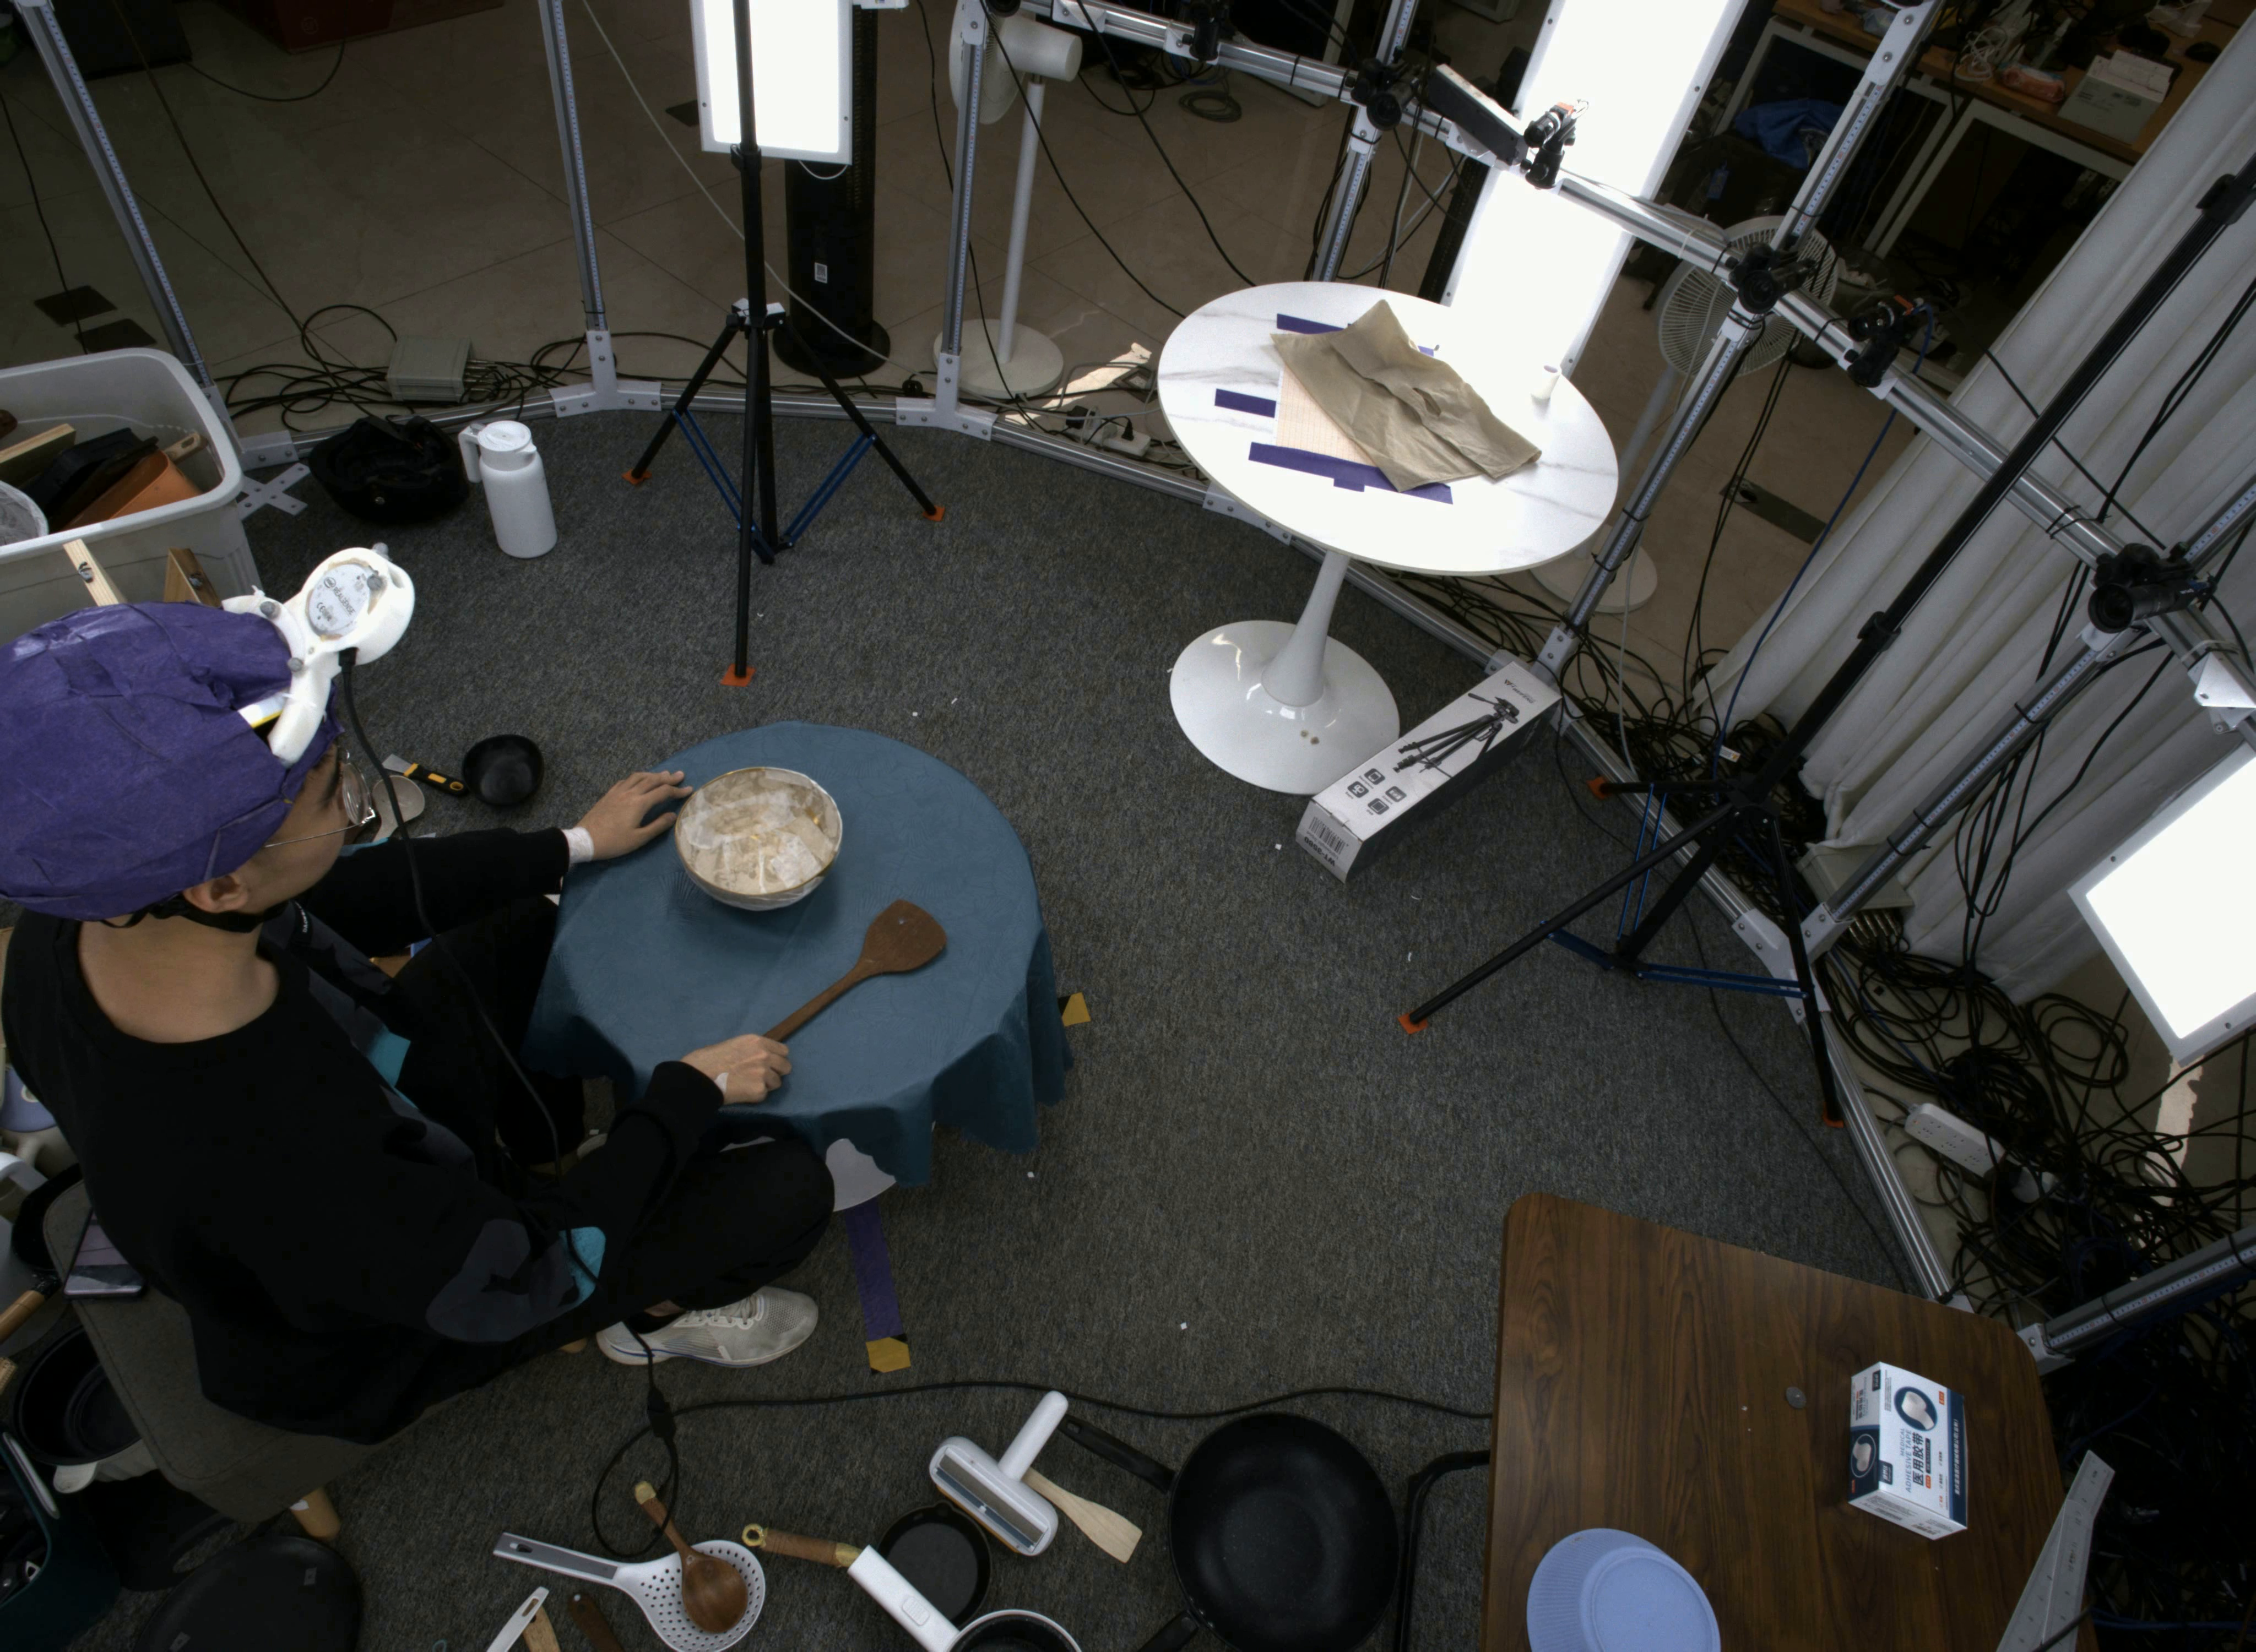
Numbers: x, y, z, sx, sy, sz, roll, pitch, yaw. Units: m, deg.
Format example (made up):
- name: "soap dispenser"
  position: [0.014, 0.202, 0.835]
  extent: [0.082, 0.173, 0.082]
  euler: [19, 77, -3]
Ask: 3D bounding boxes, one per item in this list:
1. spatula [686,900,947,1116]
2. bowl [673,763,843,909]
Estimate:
- name: "spatula"
  position: [-0.379, 0.218, 1.570]
  extent: [0.094, 0.016, 0.386]
  euler: [39, 55, 16]
- name: "bowl"
  position: [-0.467, 0.027, 1.638]
  extent: [0.214, 0.096, 0.211]
  euler: [8, 54, -9]
